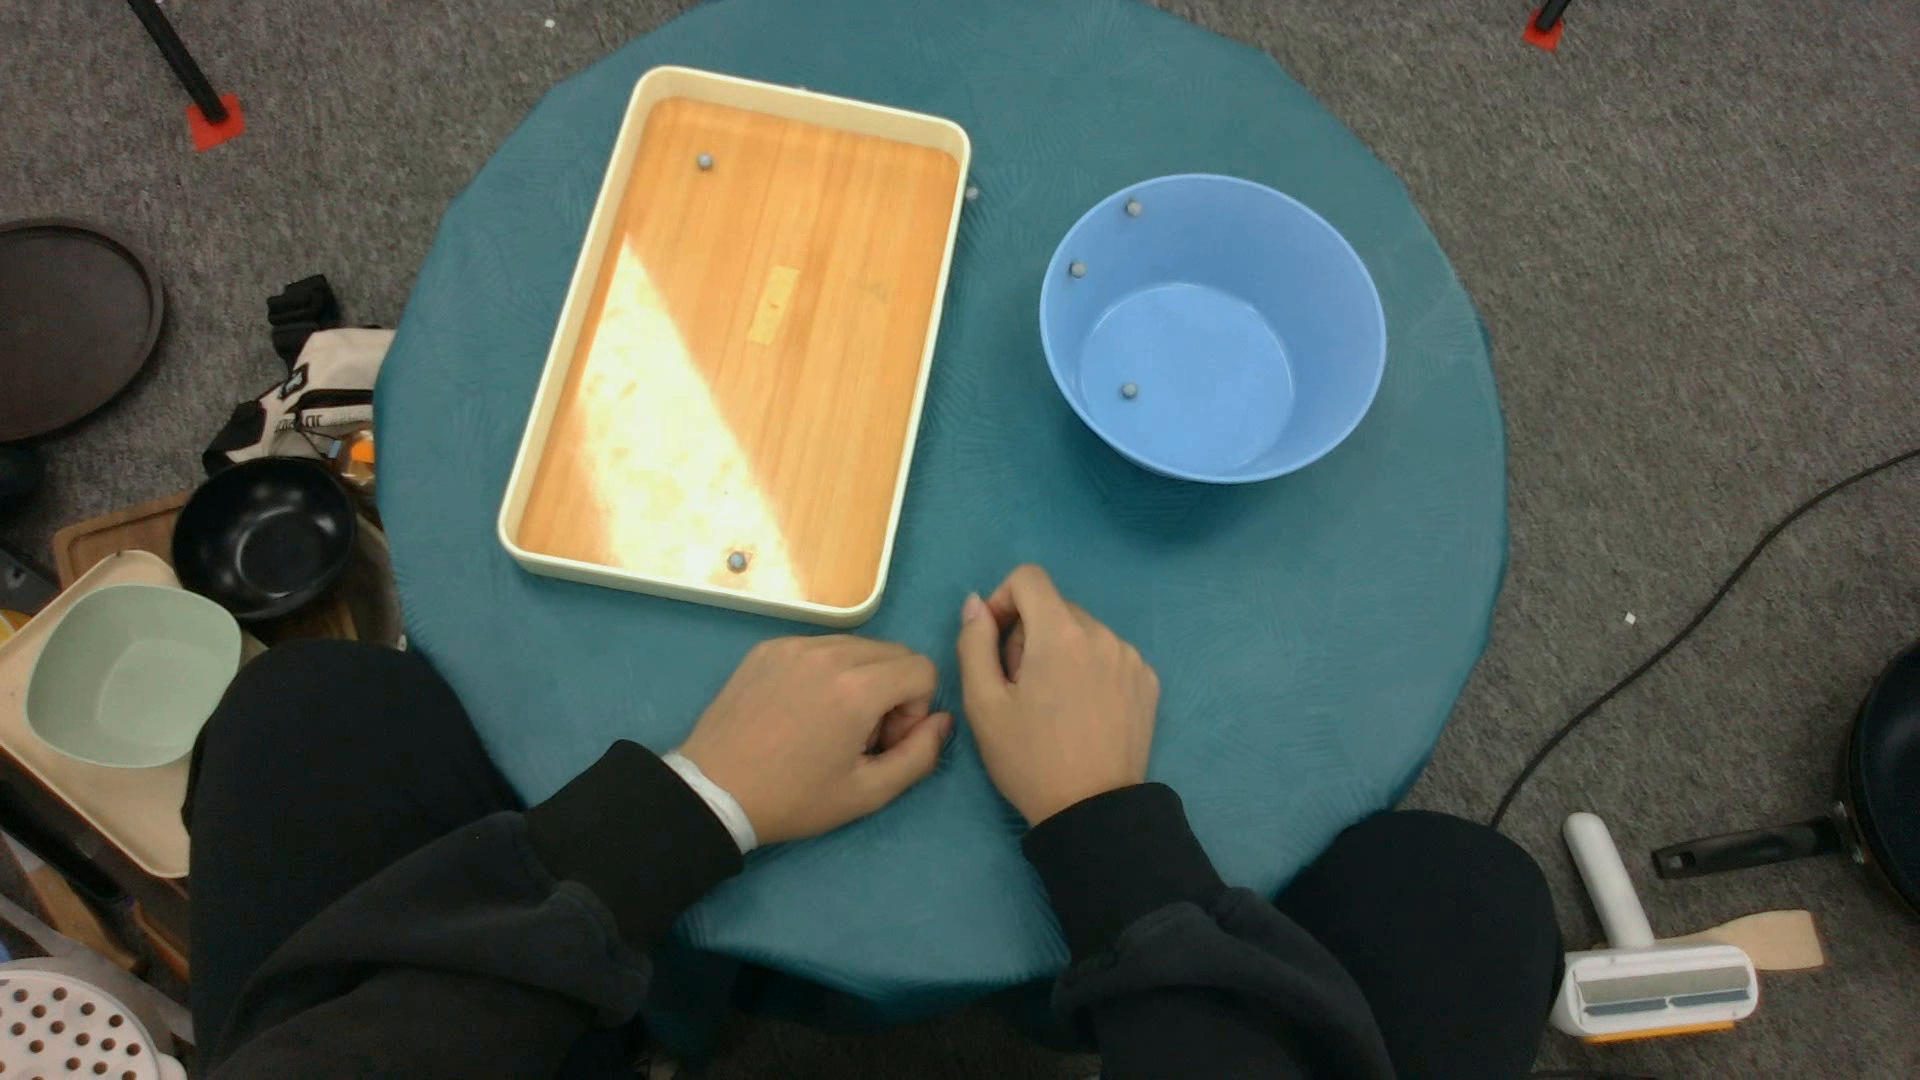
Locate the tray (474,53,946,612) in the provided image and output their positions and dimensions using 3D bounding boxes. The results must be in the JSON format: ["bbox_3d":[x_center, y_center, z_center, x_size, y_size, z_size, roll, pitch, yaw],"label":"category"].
[{"bbox_3d":[-0.122,-0.118,0.727,0.191,0.027,0.301,10,68,-1],"label":"tray"}]

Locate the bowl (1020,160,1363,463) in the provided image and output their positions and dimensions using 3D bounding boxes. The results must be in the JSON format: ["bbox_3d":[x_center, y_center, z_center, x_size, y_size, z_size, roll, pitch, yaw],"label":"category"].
[{"bbox_3d":[0.114,-0.107,0.722,0.176,0.070,0.176,2,68,-5],"label":"bowl"}]
